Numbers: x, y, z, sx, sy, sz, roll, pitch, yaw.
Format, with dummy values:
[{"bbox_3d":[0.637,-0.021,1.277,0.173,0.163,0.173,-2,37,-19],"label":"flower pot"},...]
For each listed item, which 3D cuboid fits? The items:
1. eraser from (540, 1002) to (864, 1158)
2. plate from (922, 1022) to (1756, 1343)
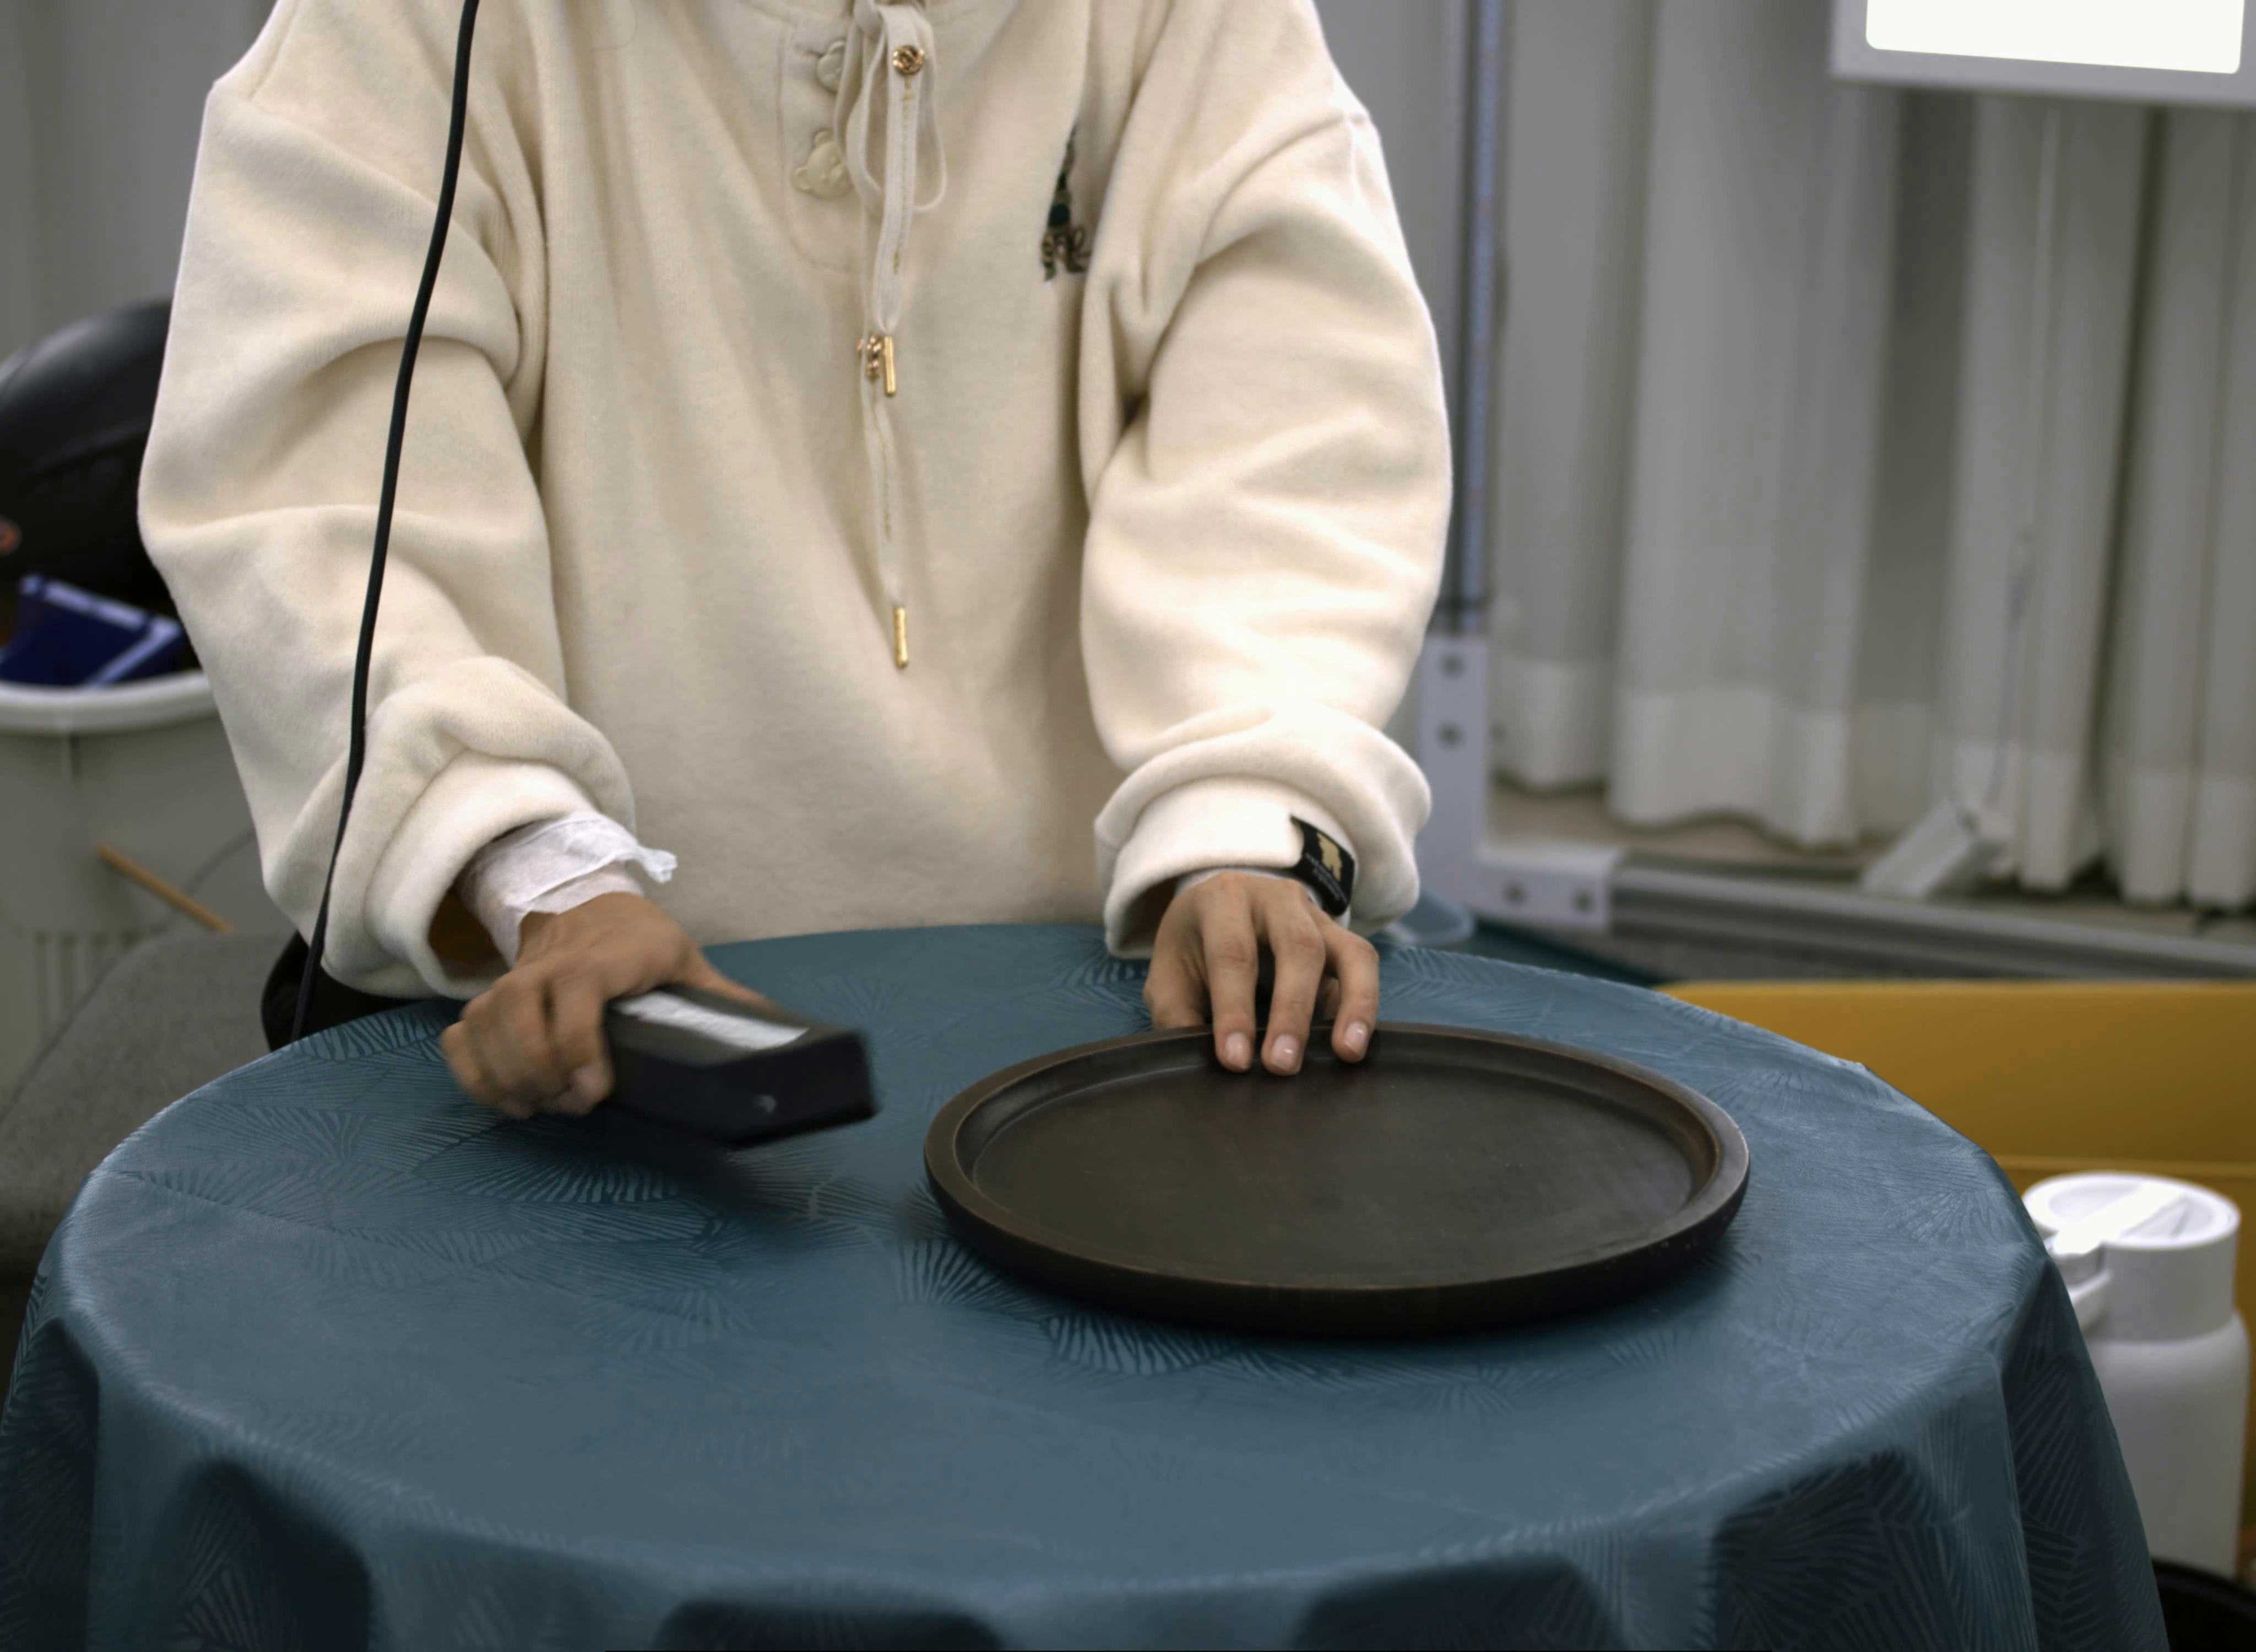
[{"bbox_3d":[-0.132,0.077,1.623,0.054,0.030,0.124,-9,10,-30],"label":"eraser"},{"bbox_3d":[0.064,0.105,1.603,0.254,0.029,0.253,1,17,0],"label":"plate"}]
